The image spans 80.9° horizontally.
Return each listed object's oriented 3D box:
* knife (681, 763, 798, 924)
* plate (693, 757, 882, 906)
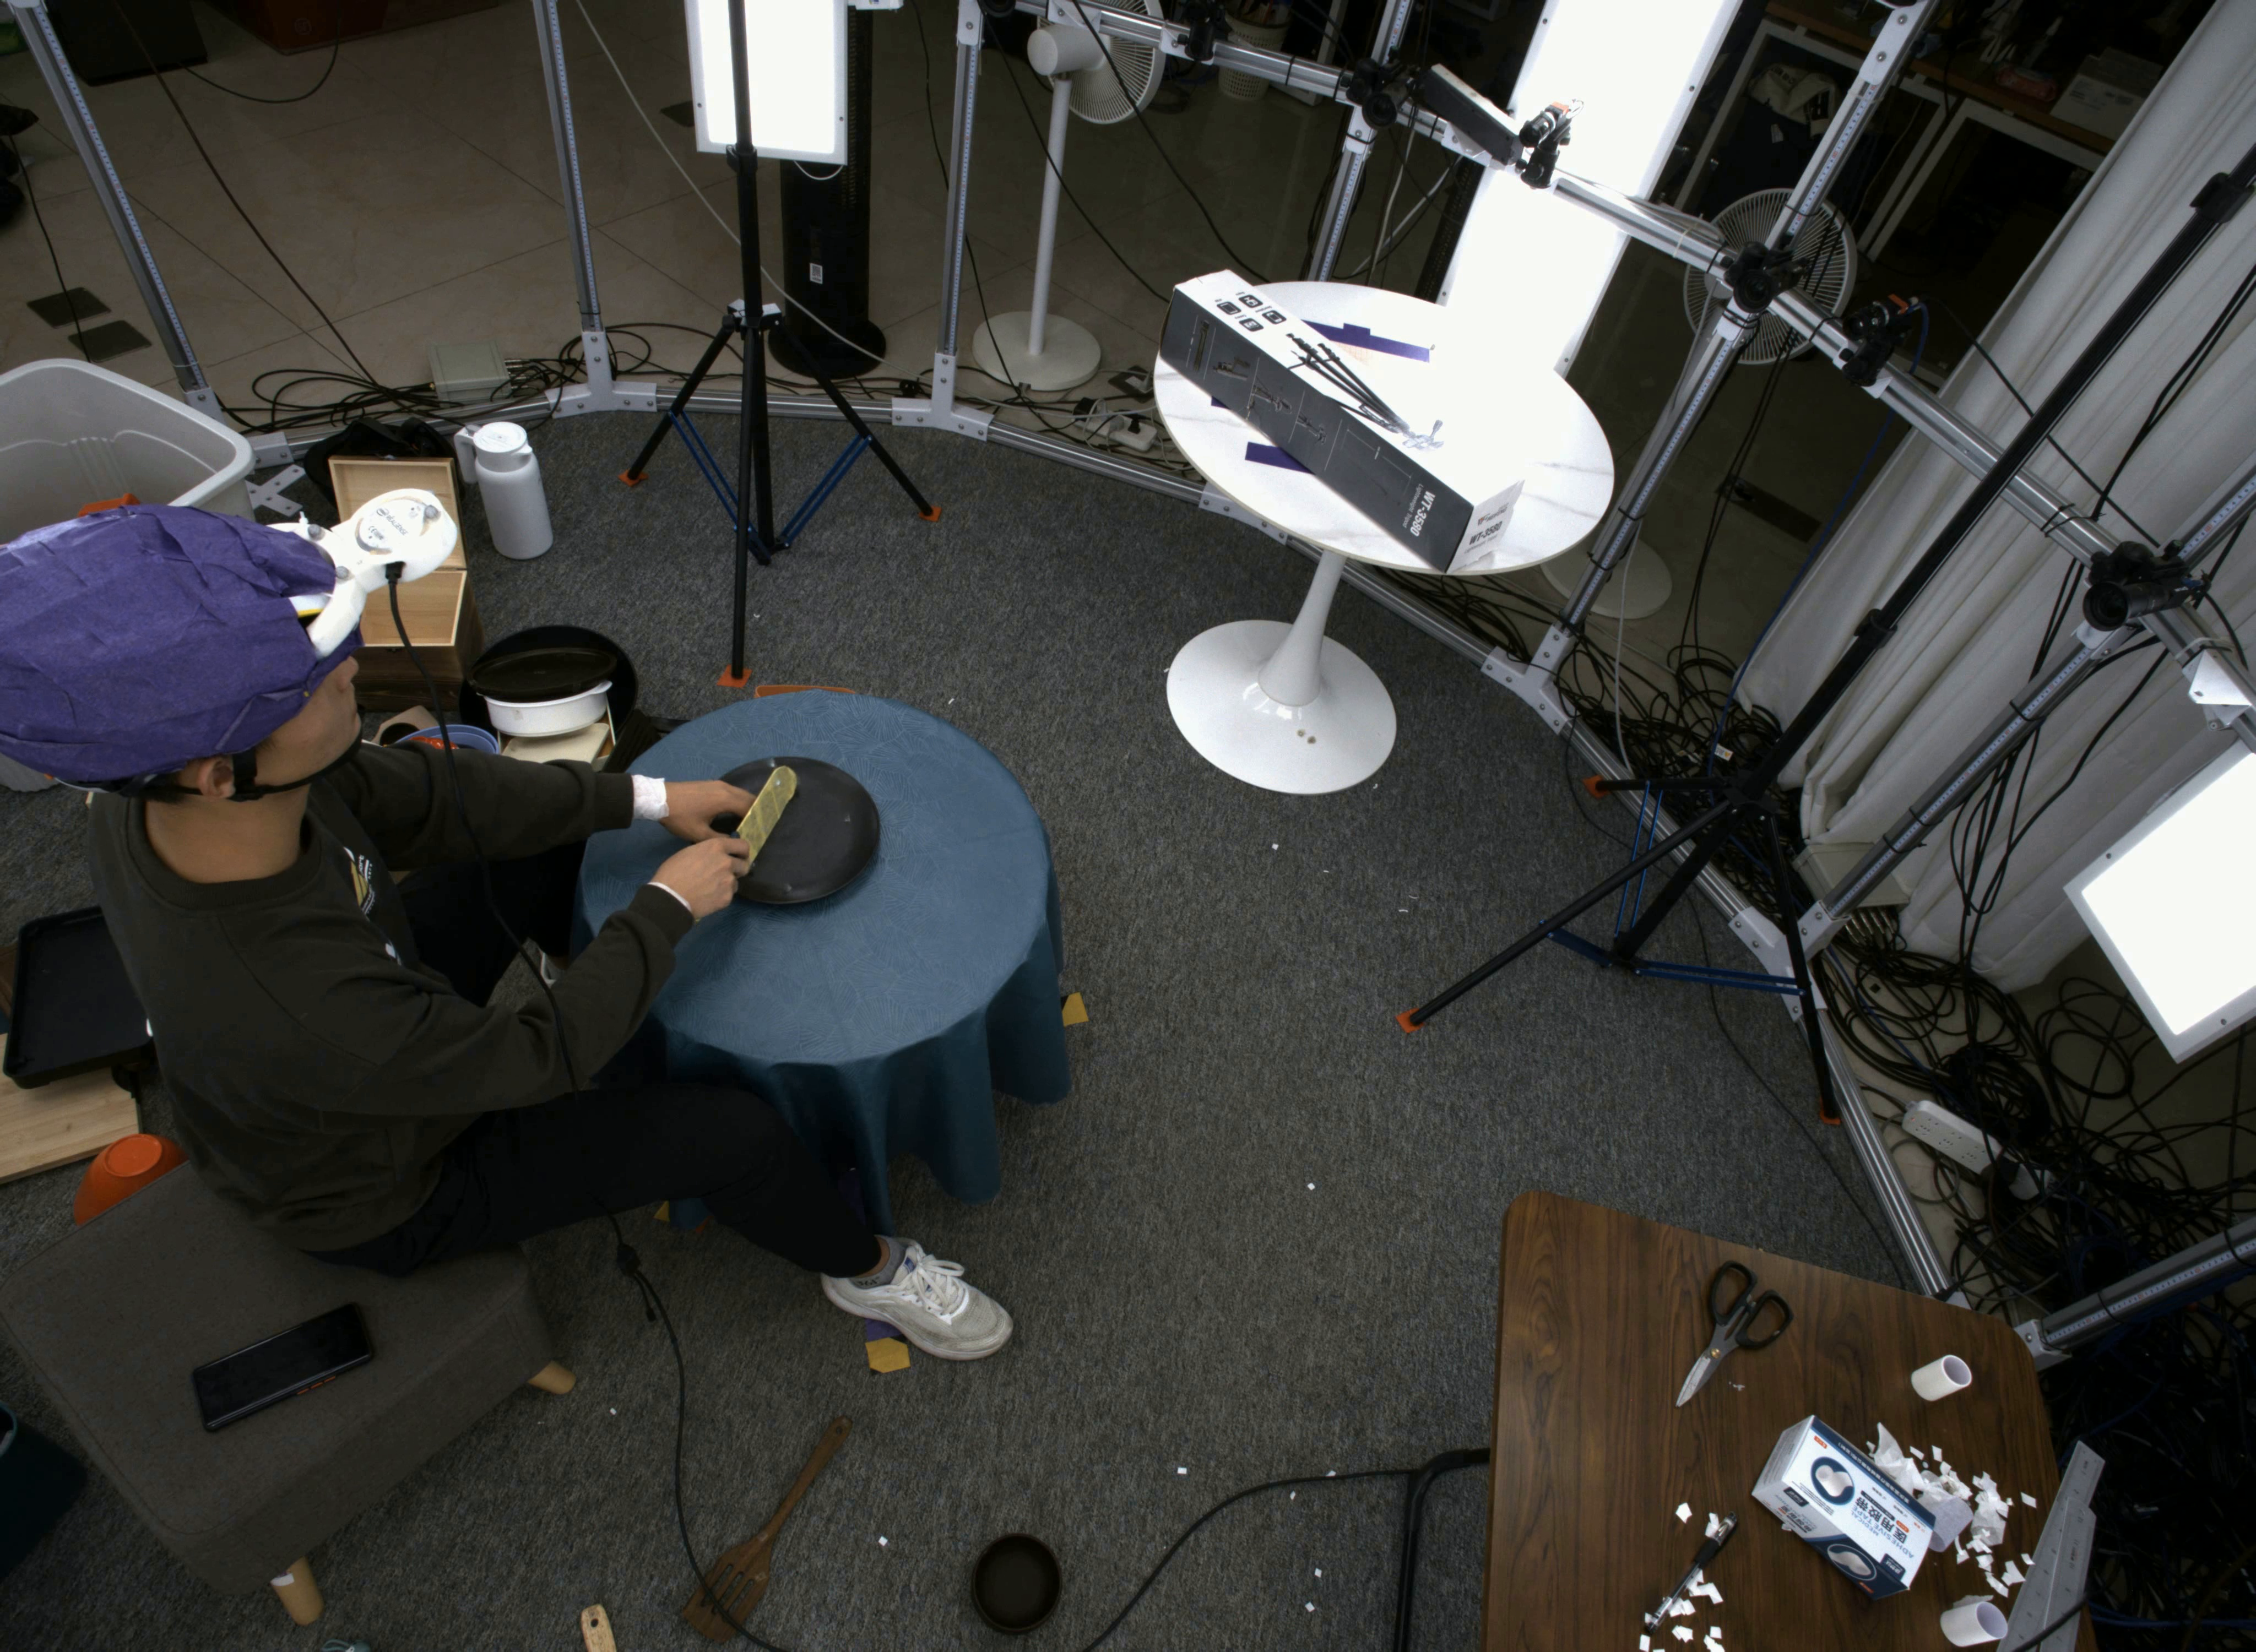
[{"bbox_3d":[-0.485,0.021,1.641,0.026,0.084,0.286,11,46,13],"label":"knife"},{"bbox_3d":[-0.448,0.007,1.709,0.244,0.024,0.240,8,53,-8],"label":"plate"}]
